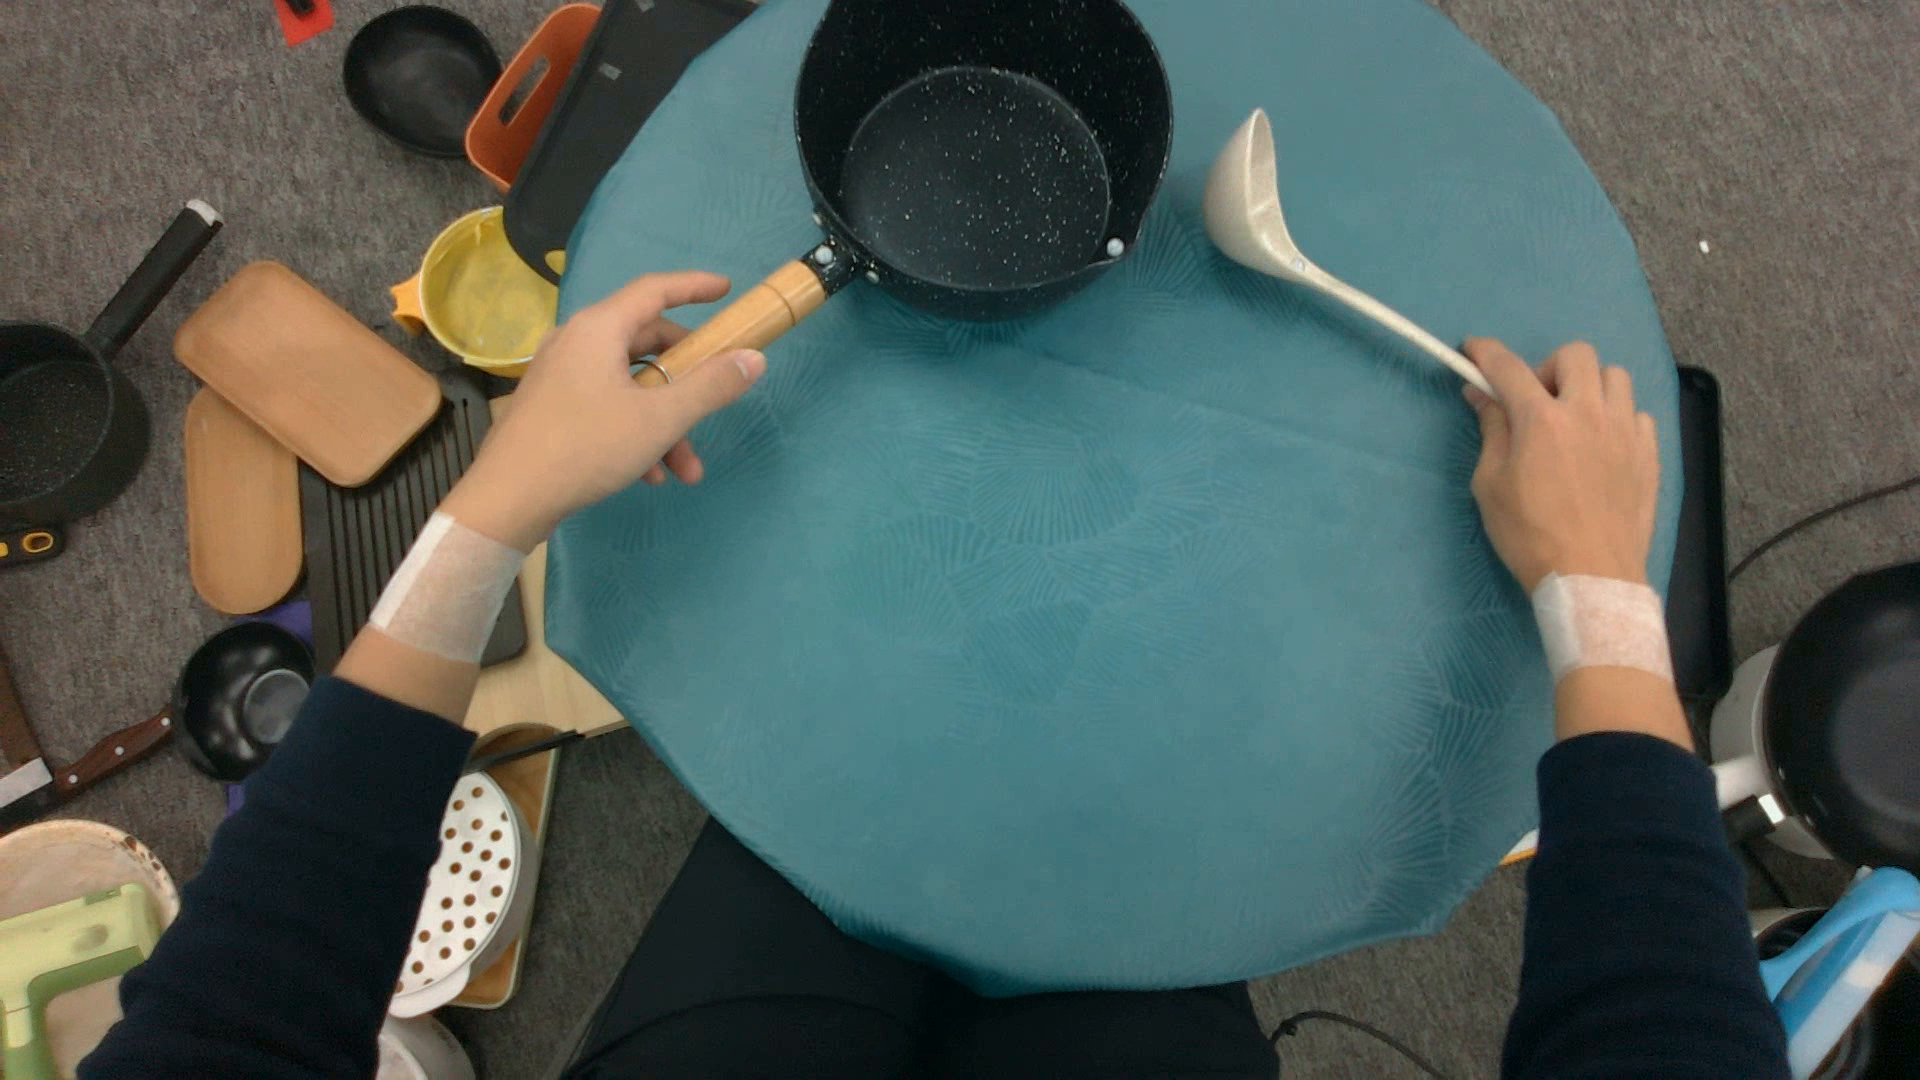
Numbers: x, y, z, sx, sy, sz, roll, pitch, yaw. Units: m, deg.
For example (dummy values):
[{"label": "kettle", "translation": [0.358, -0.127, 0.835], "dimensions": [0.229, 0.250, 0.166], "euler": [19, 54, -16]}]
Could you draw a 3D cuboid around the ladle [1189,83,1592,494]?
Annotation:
[{"label": "ladle", "translation": [0.236, -0.129, 0.712], "dimensions": [0.275, 0.089, 0.069], "euler": [35, 106, -1]}]

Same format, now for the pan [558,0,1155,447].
[{"label": "pan", "translation": [-0.053, -0.153, 0.679], "dimensions": [0.207, 0.108, 0.343], "euler": [43, 77, 5]}]
